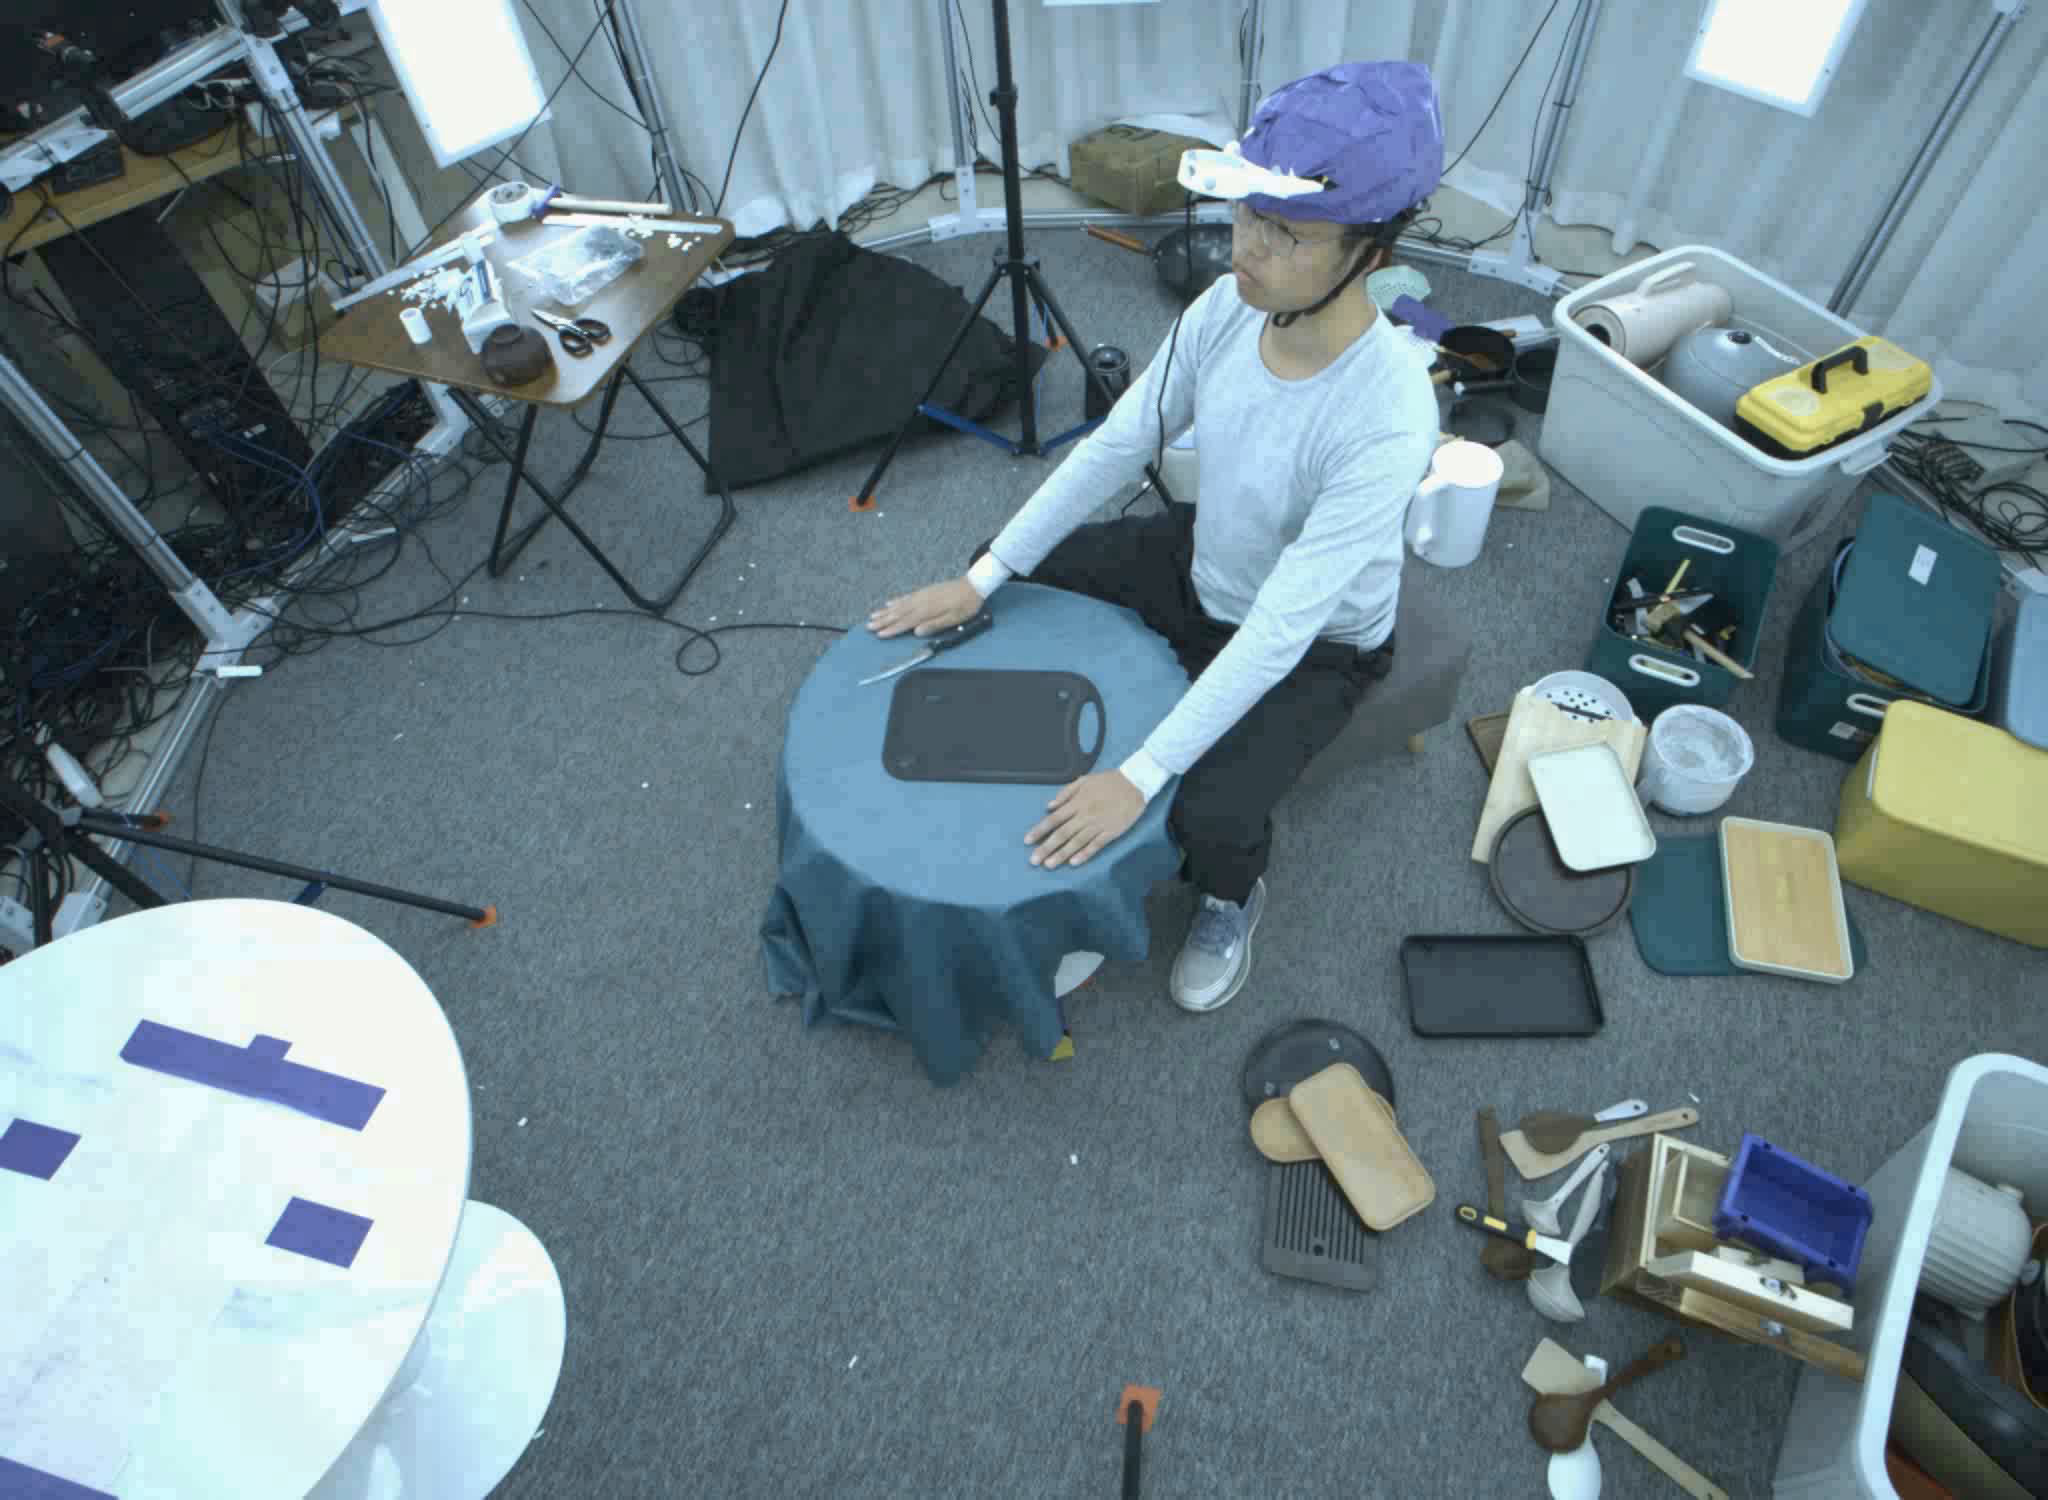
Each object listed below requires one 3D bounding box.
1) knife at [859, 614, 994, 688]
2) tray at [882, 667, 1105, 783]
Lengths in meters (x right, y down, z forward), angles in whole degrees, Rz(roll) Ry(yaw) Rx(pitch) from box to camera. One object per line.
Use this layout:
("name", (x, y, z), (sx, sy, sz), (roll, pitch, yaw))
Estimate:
("knife", (-0.153, -0.154, 1.902), (0.240, 0.016, 0.024), (-29, 56, -15))
("tray", (-0.042, -0.041, 1.822), (0.325, 0.010, 0.209), (2, 55, 3))
